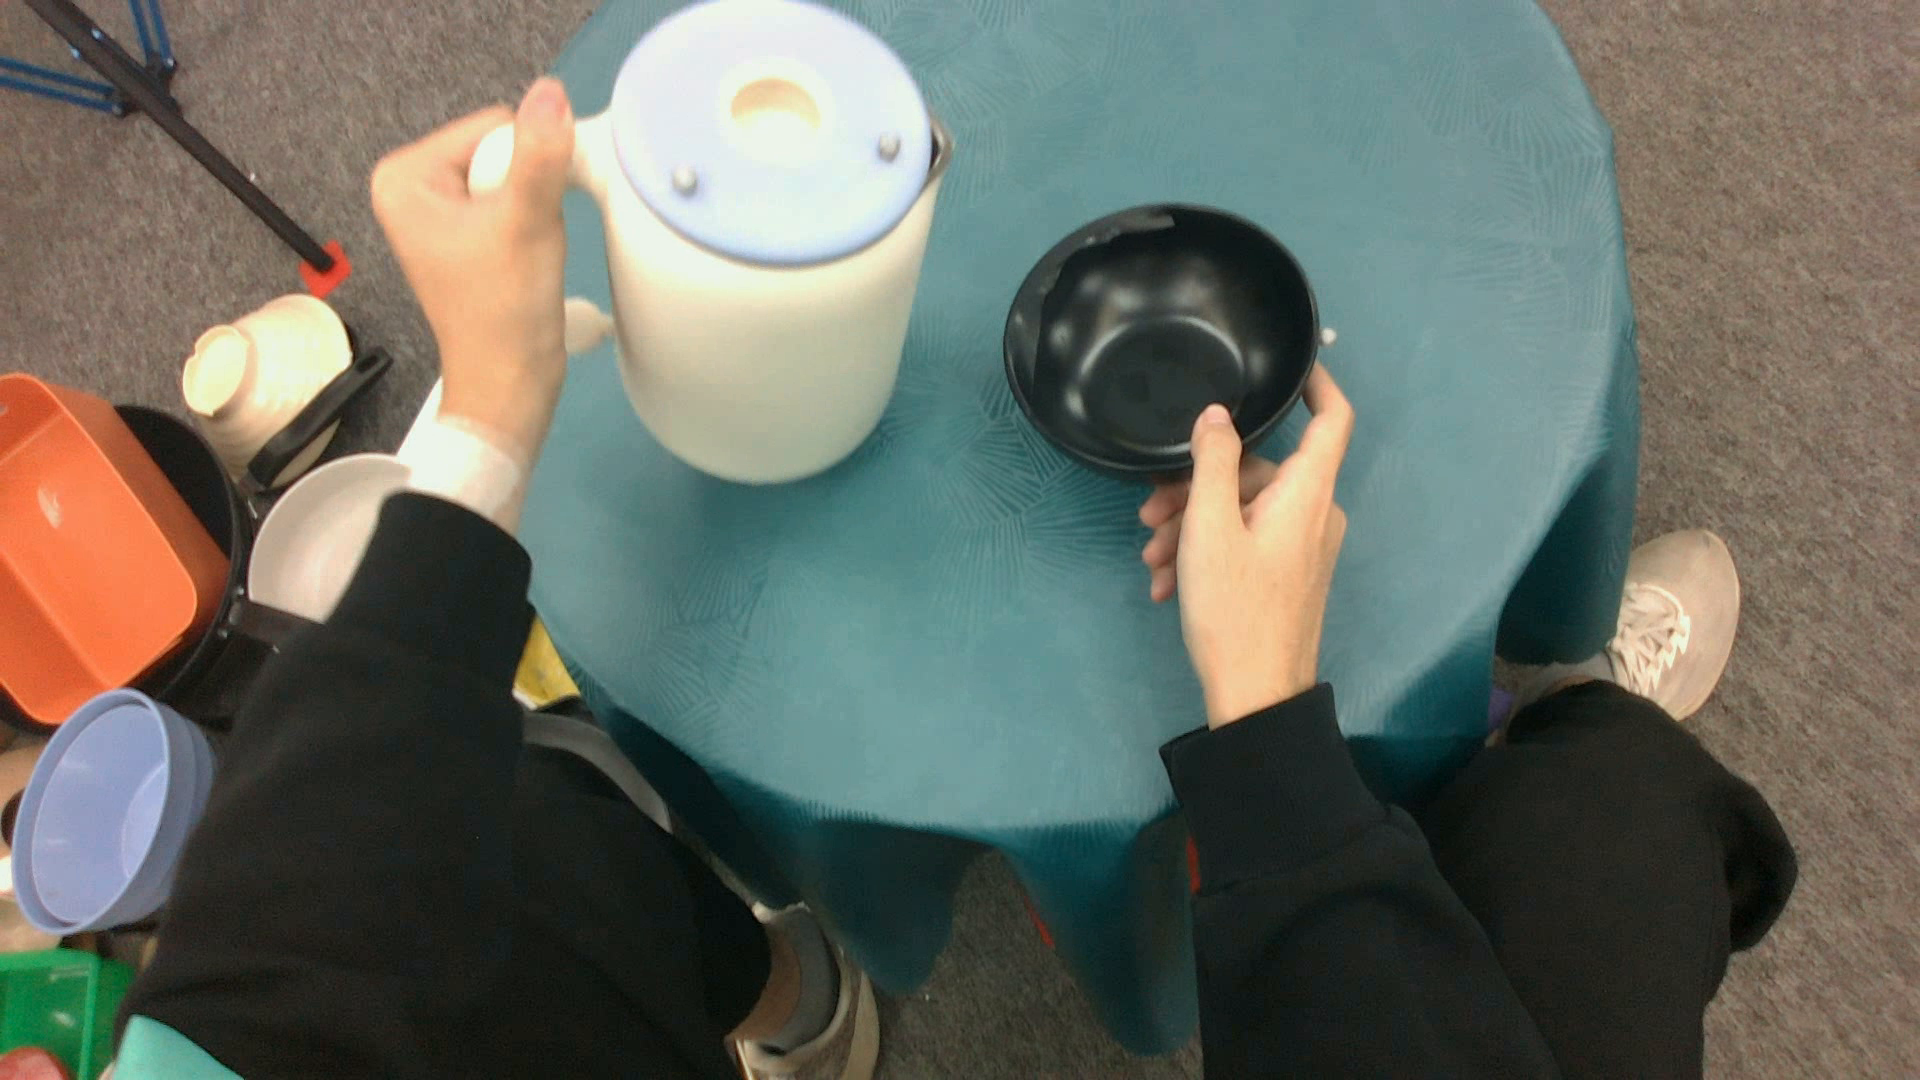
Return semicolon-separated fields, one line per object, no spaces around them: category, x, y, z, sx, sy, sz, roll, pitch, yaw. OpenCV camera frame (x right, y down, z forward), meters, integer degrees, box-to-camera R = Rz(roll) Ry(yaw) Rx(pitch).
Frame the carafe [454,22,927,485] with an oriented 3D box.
carafe;-0.116;-0.116;0.592;0.191;0.182;0.132;-3;65;-9

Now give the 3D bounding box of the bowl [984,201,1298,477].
bowl;0.083;-0.085;0.631;0.140;0.049;0.140;-4;65;10
